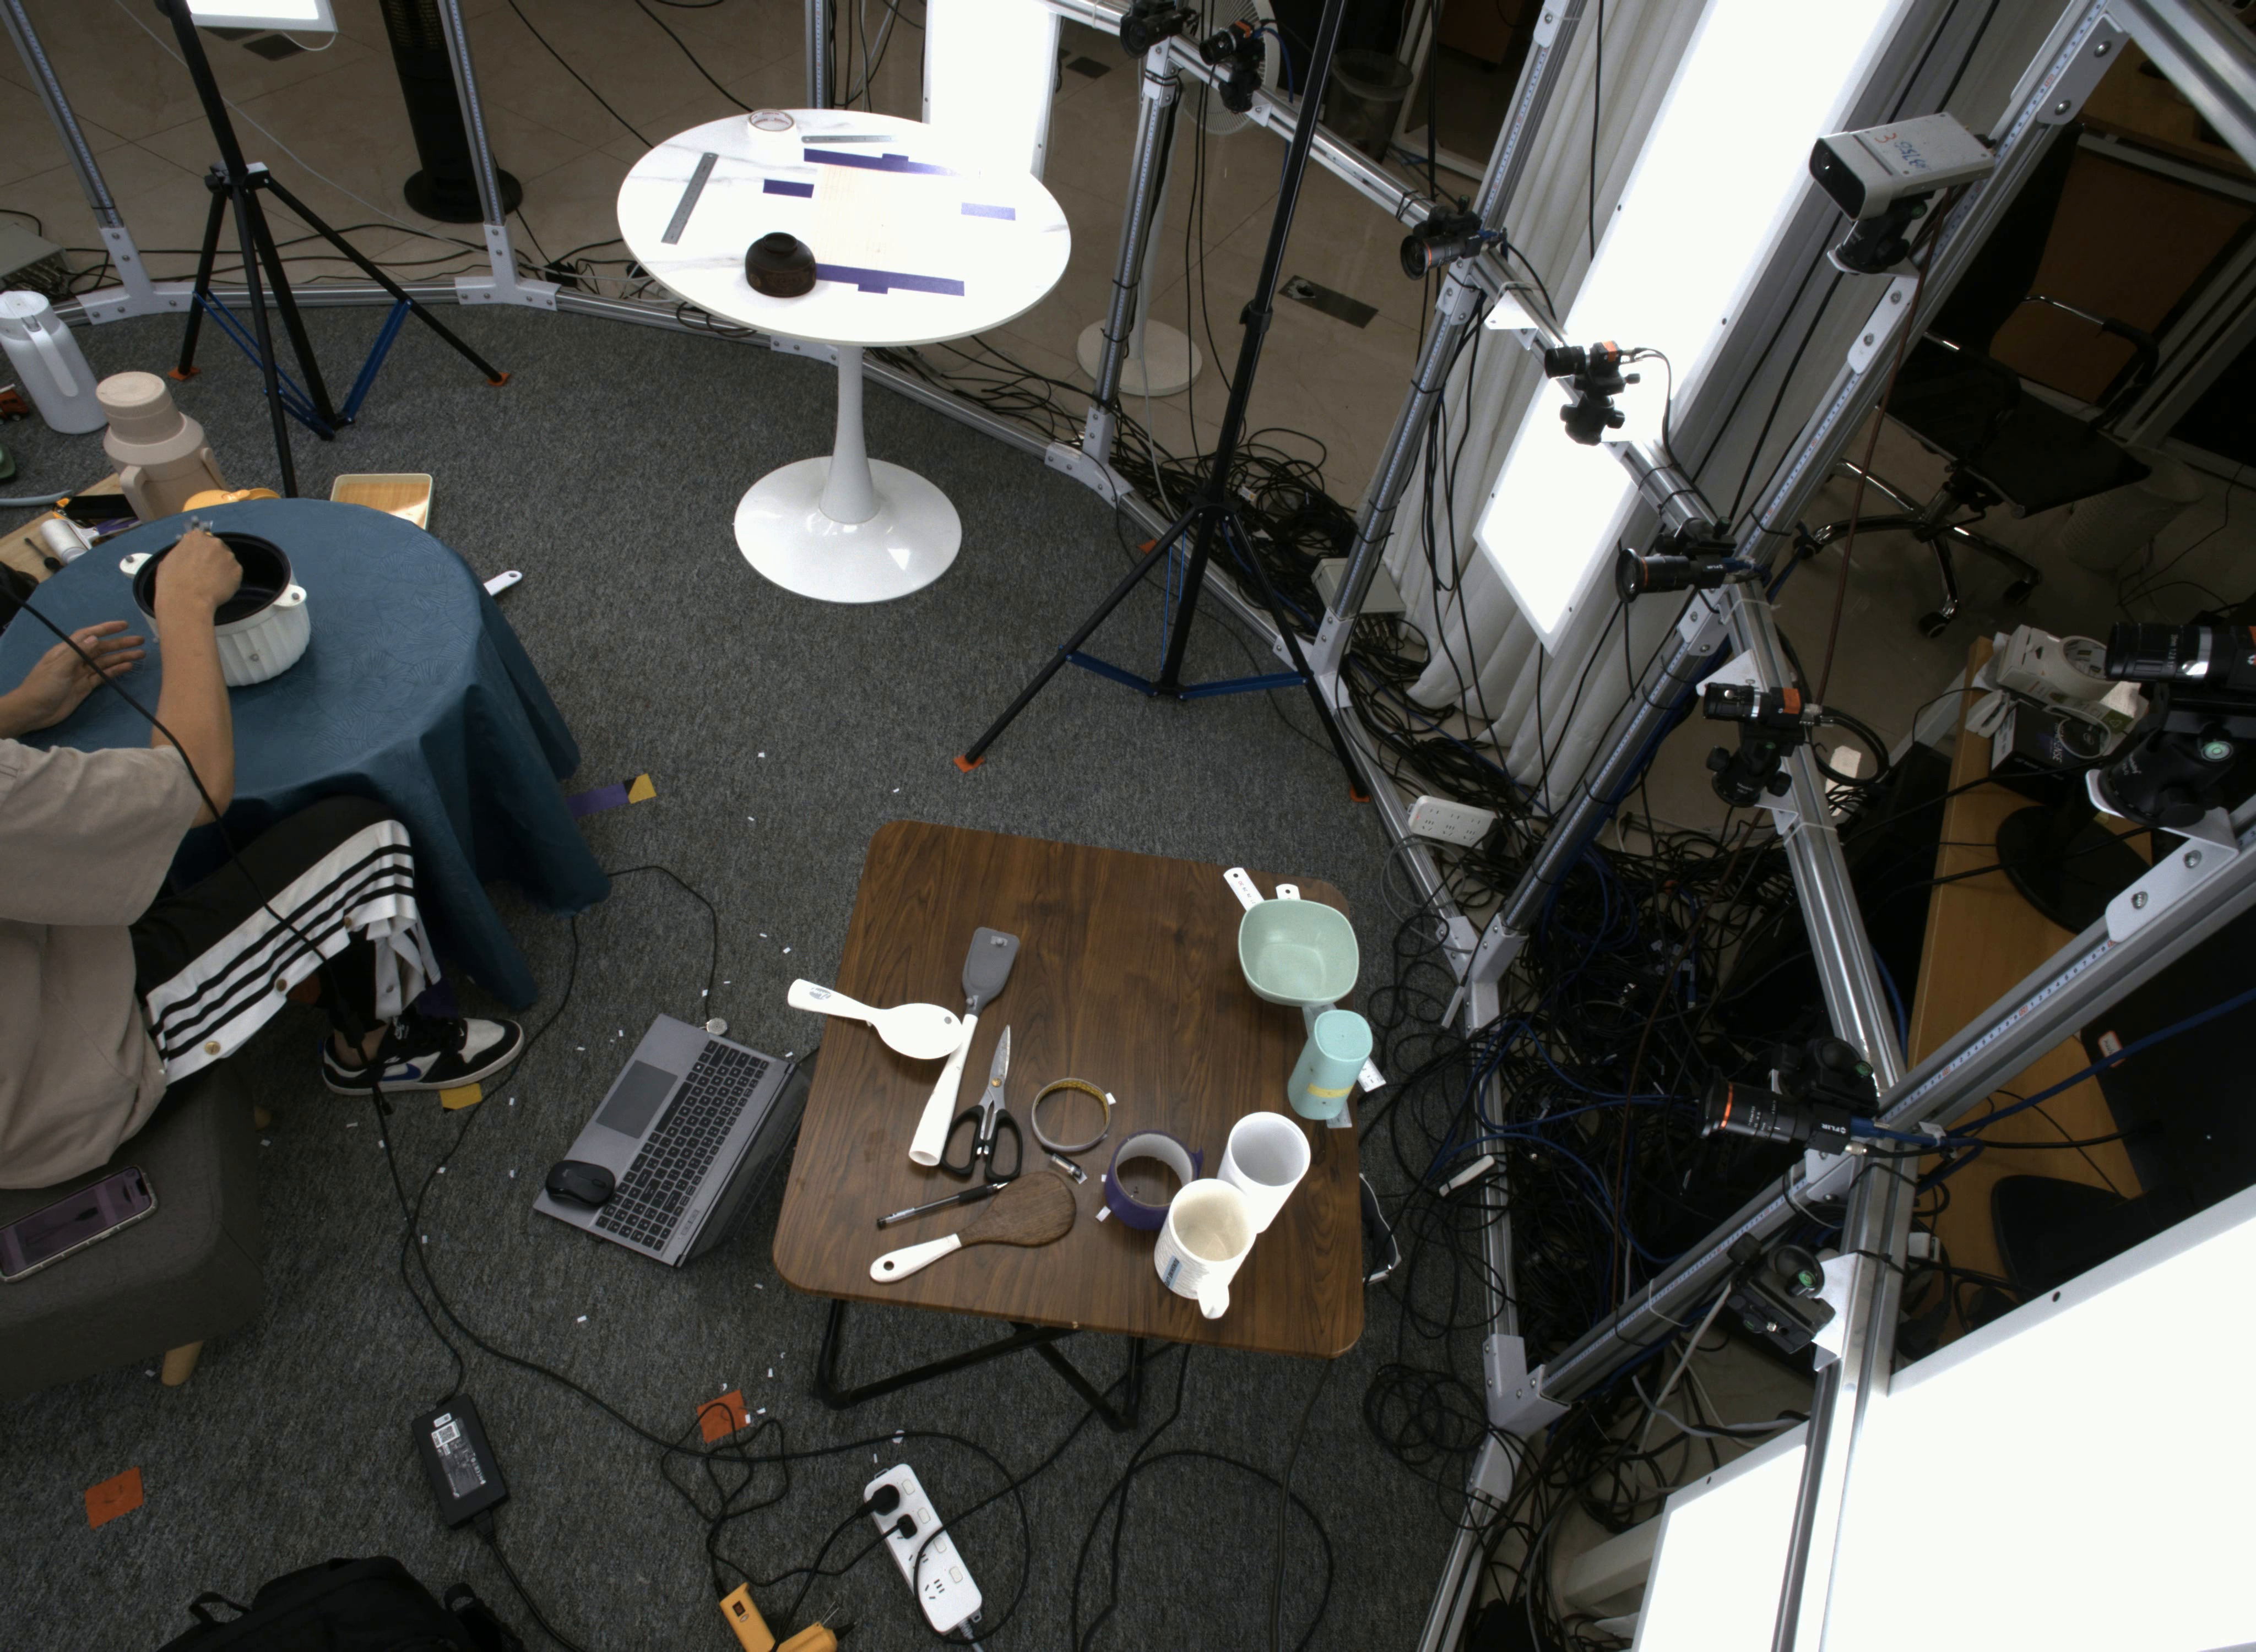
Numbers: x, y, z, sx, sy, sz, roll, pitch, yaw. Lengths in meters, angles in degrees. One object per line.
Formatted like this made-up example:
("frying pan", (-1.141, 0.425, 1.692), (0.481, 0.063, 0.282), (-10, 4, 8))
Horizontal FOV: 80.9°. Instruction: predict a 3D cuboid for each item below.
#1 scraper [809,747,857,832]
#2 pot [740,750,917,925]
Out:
("scraper", (-0.340, -0.045, 1.505), (0.039, 0.015, 0.165), (6, 32, -27))
("pot", (-0.380, 0.020, 1.640), (0.237, 0.146, 0.189), (22, 48, 6))
